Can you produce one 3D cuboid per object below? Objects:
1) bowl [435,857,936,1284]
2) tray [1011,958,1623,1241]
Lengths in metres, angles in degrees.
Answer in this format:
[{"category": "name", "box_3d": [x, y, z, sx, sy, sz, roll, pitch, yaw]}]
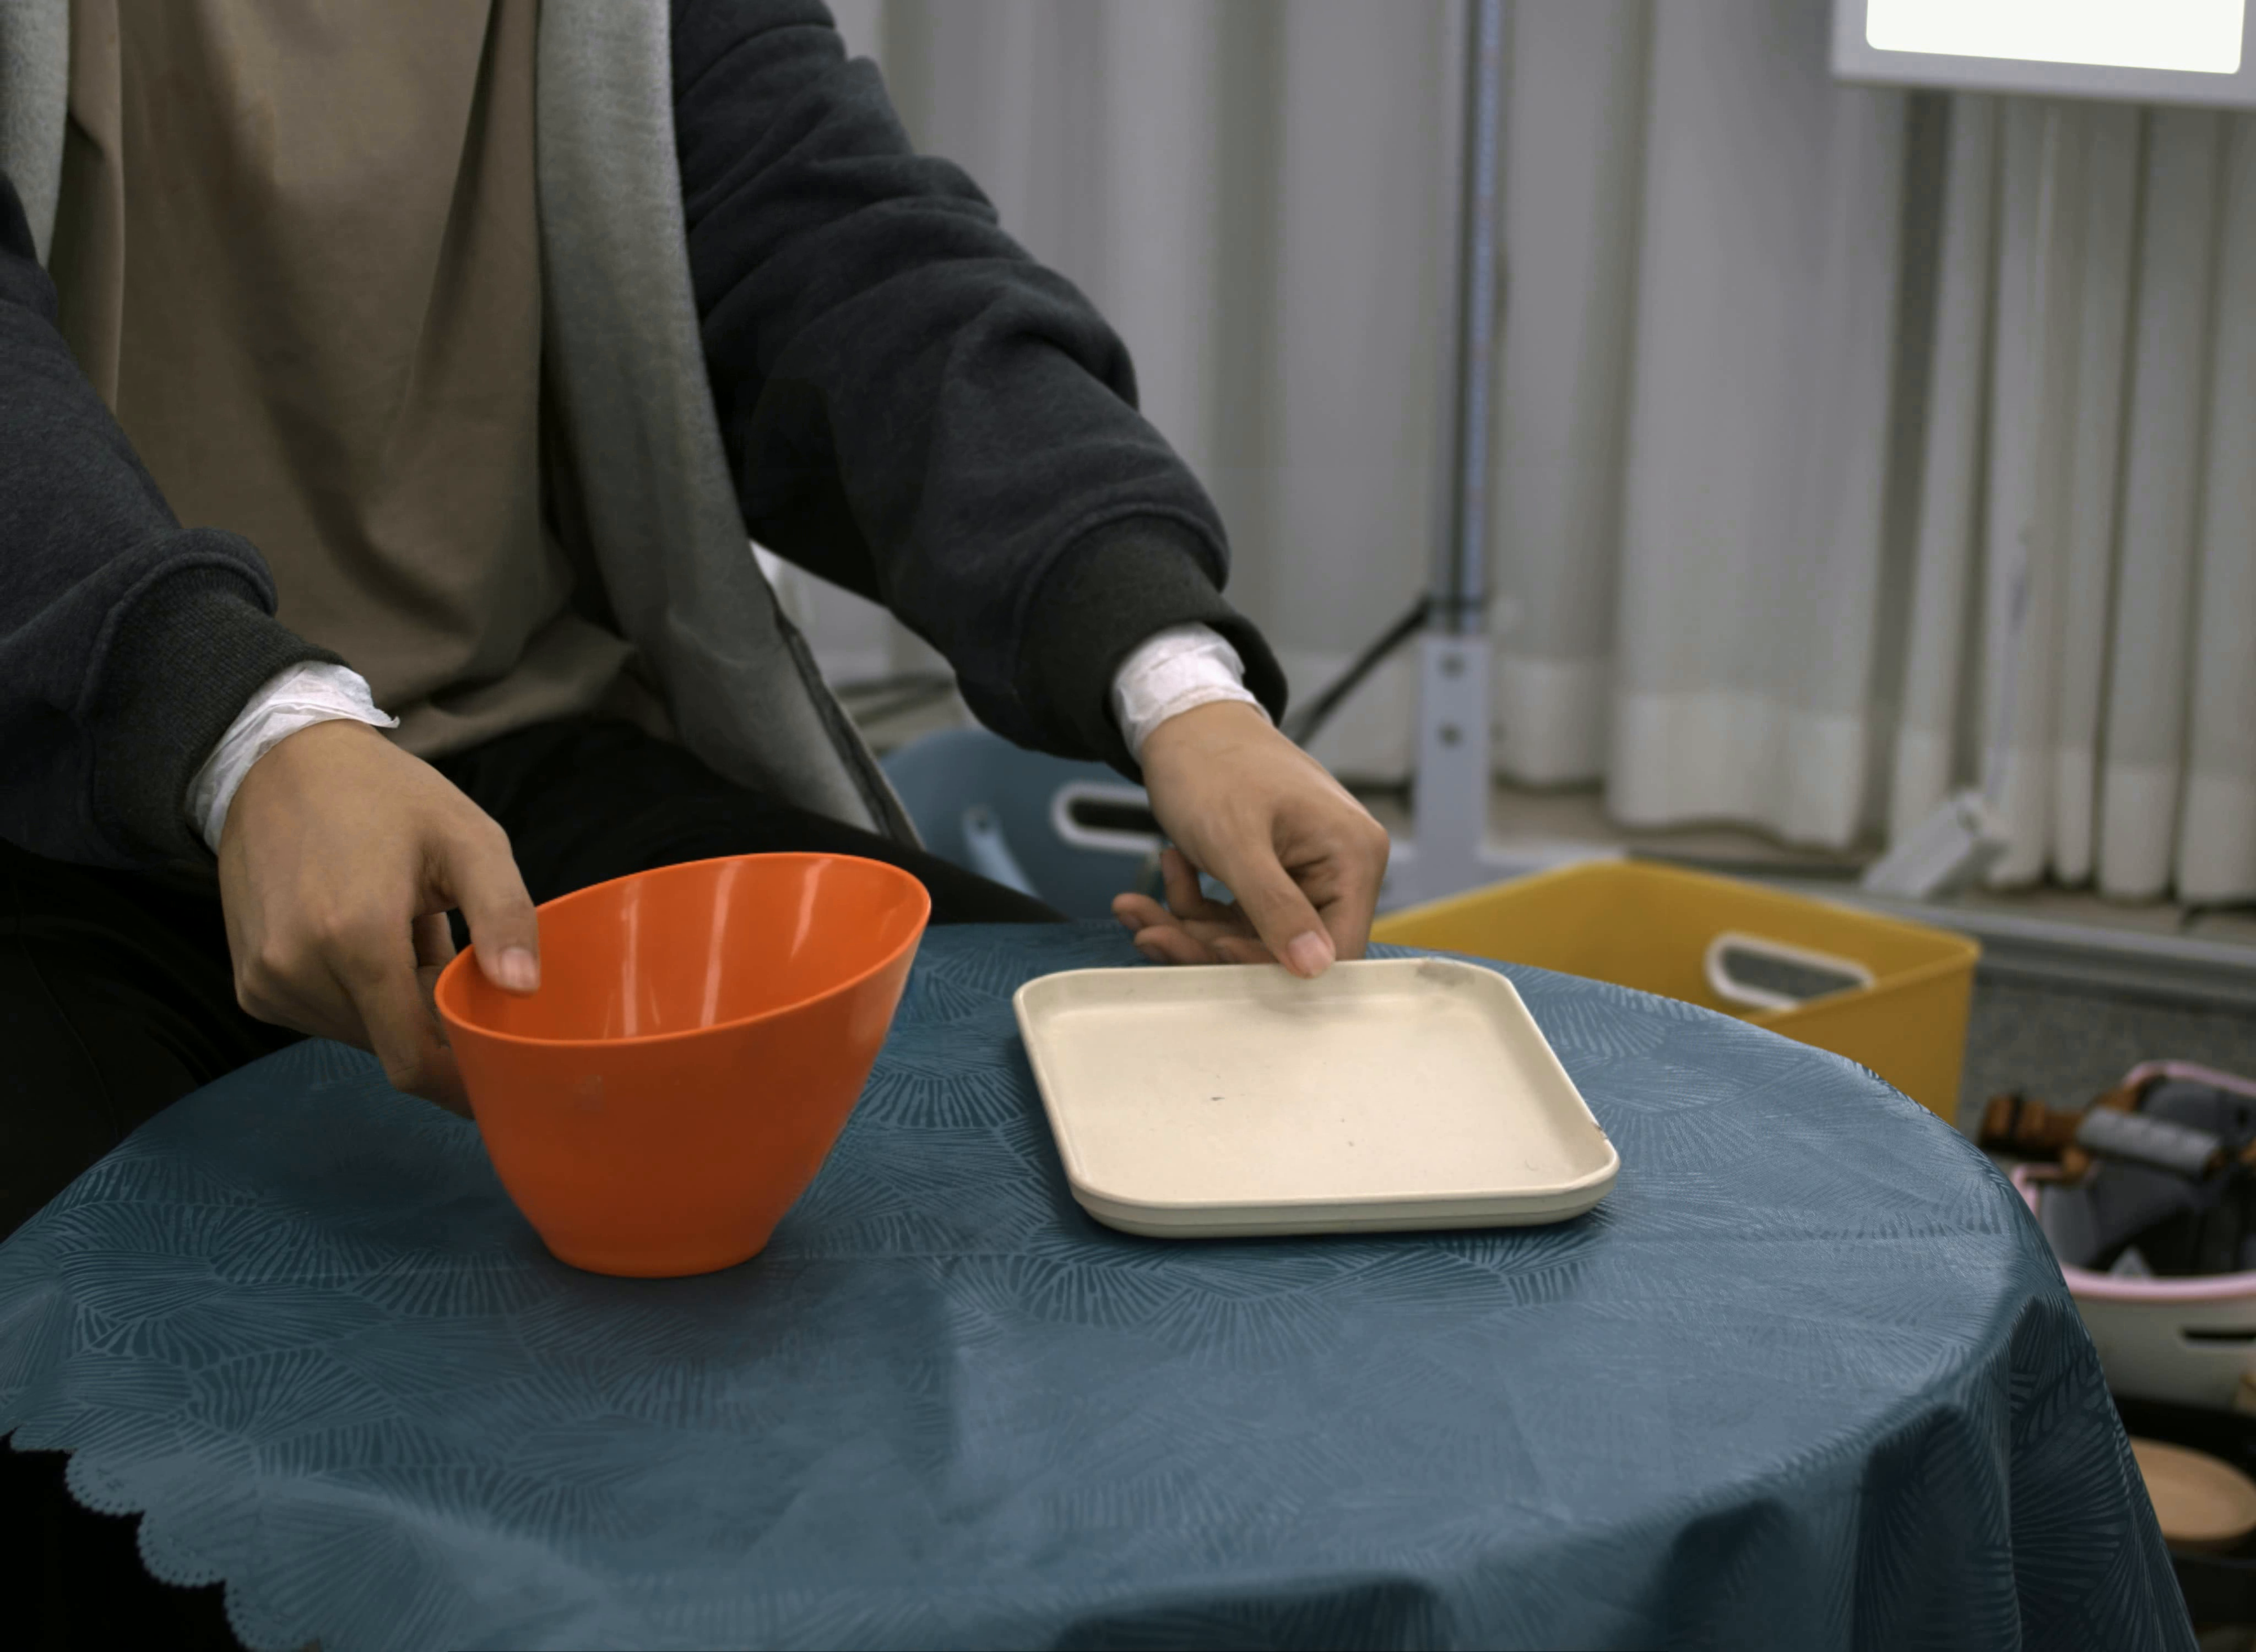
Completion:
[{"category": "bowl", "box_3d": [-0.131, 0.075, 1.564, 0.147, 0.105, 0.147, 2, 17, 0]}, {"category": "tray", "box_3d": [0.056, 0.086, 1.686, 0.171, 0.017, 0.238, -2, 16, -7]}]
